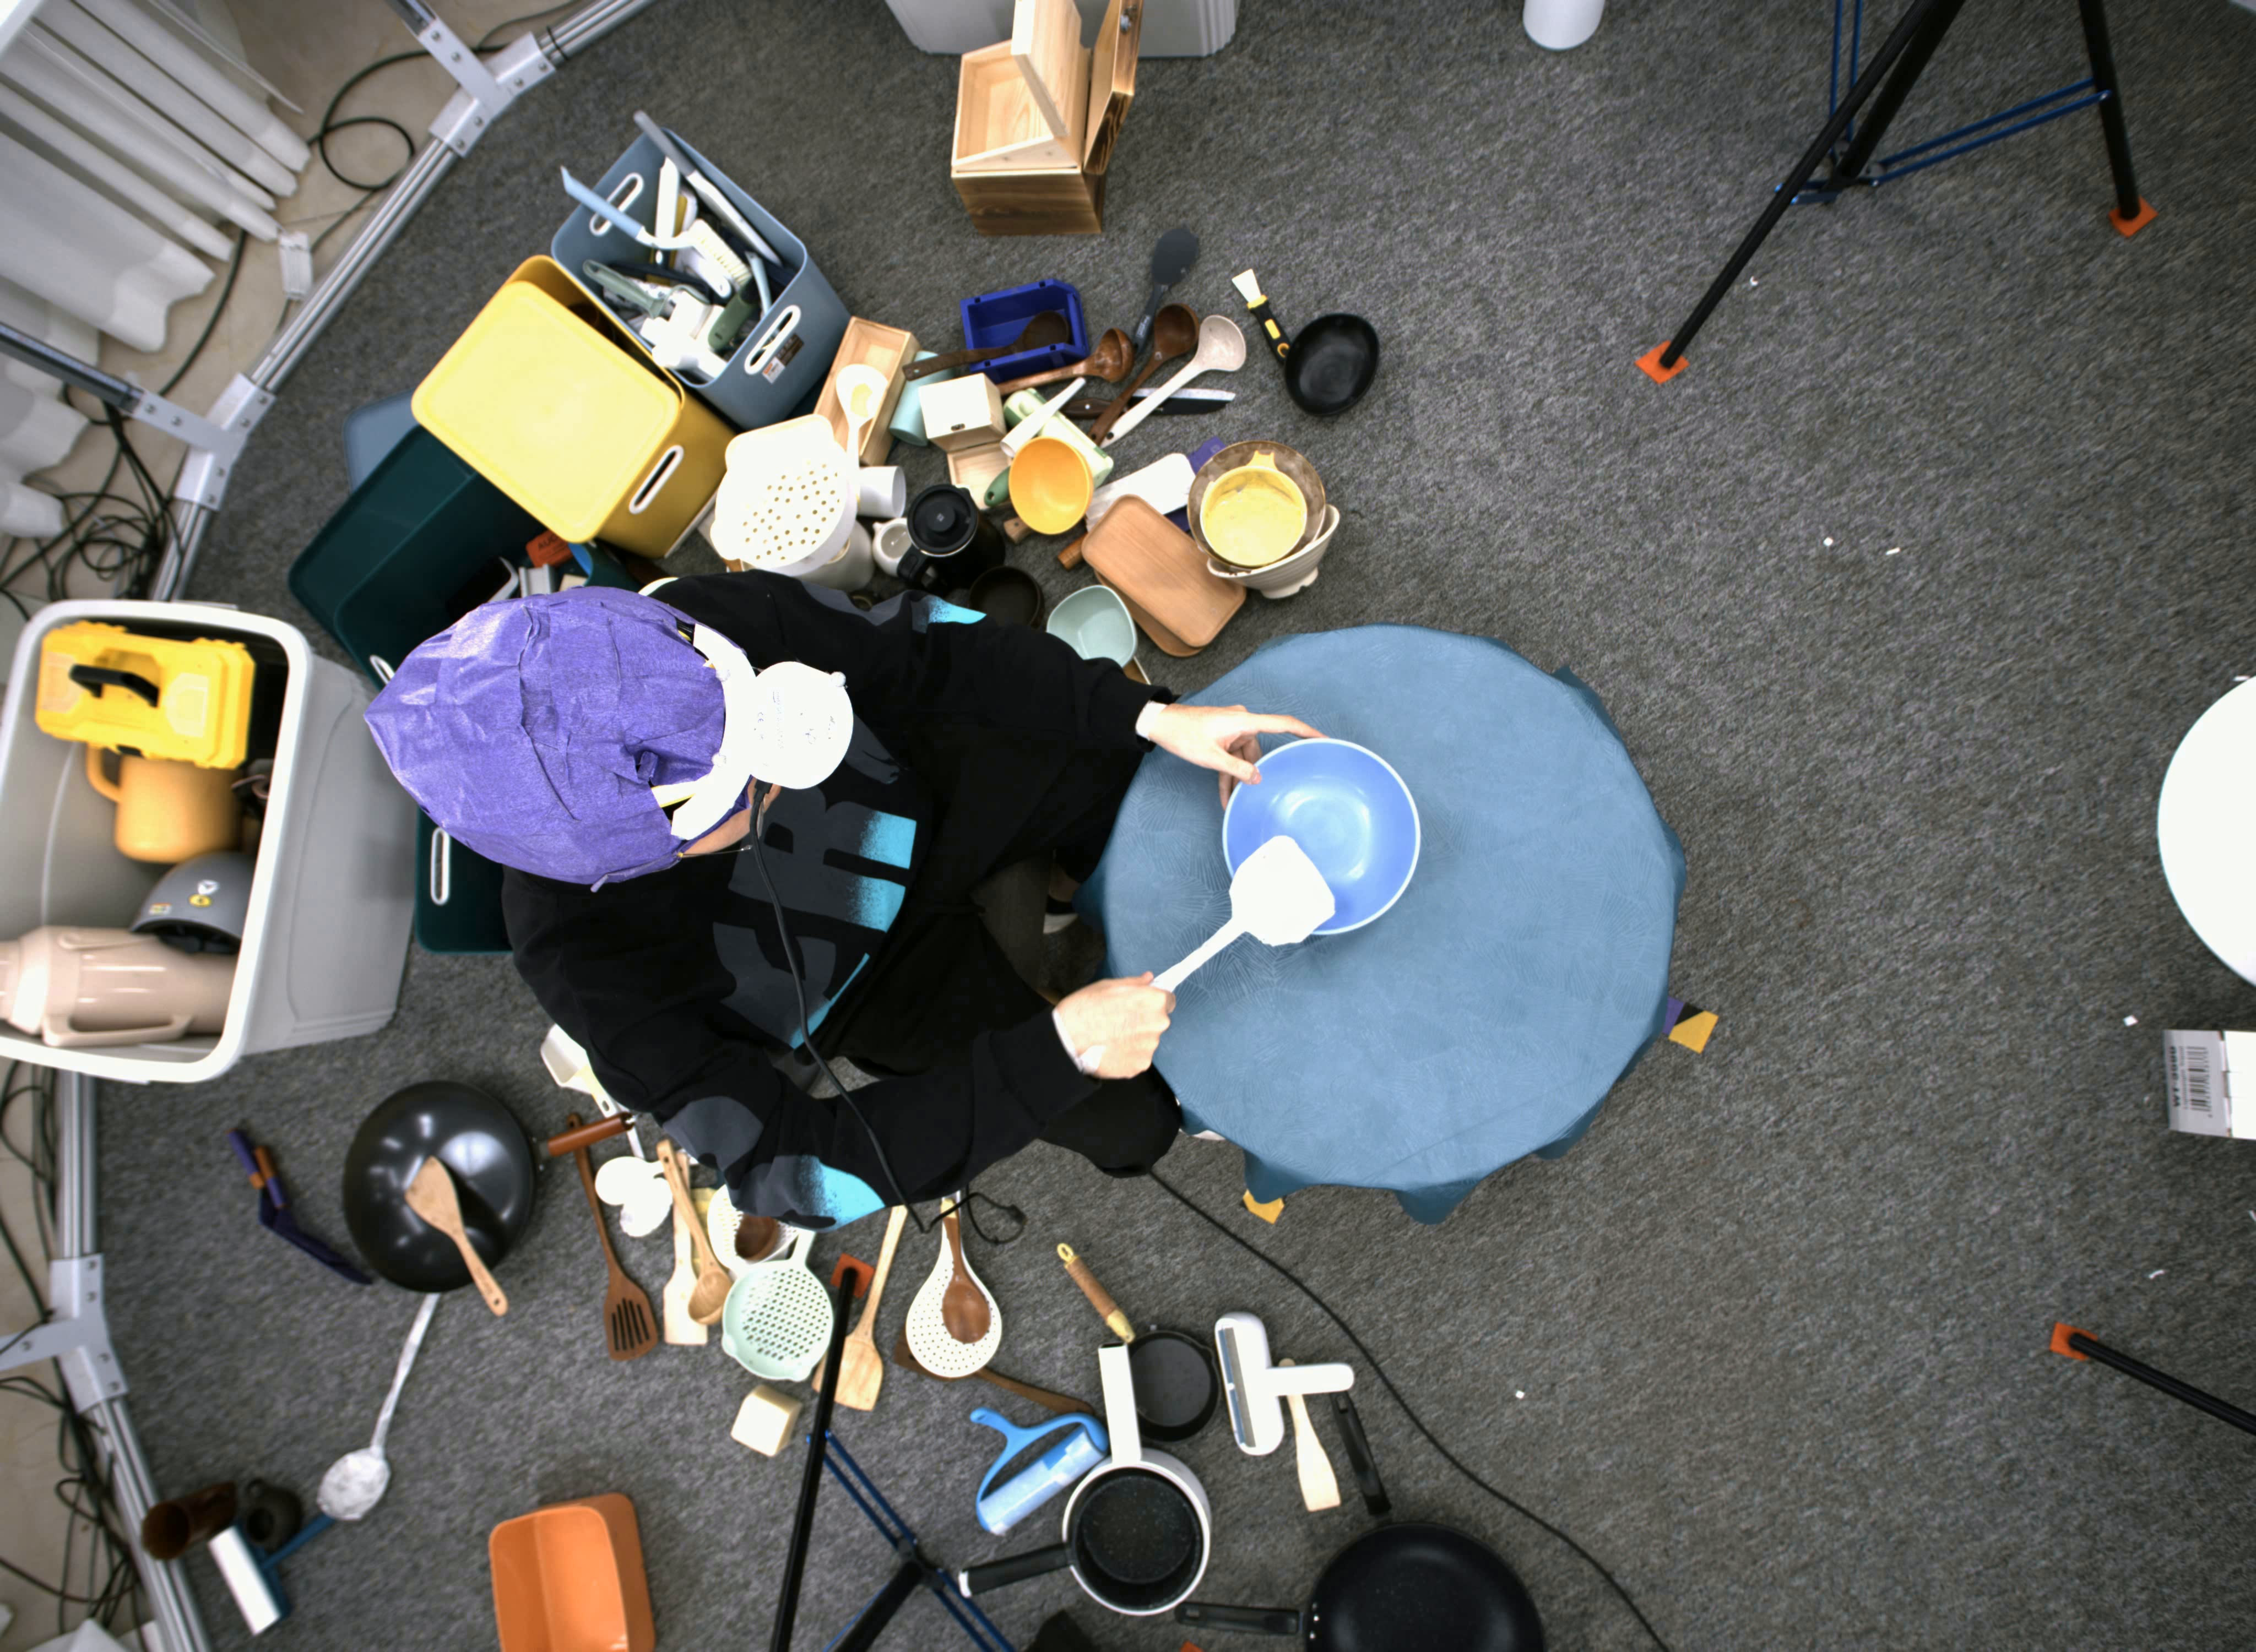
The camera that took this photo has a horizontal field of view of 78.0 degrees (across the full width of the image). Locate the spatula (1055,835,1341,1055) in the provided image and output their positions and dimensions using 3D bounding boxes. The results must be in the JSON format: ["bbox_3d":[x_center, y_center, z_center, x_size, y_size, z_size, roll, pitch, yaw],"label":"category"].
[{"bbox_3d":[0.070,0.117,1.275,0.045,0.358,0.098,-34,88,48],"label":"spatula"}]

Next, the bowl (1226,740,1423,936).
[{"bbox_3d":[0.201,0.010,1.423,0.197,0.095,0.197,0,93,8],"label":"bowl"}]
